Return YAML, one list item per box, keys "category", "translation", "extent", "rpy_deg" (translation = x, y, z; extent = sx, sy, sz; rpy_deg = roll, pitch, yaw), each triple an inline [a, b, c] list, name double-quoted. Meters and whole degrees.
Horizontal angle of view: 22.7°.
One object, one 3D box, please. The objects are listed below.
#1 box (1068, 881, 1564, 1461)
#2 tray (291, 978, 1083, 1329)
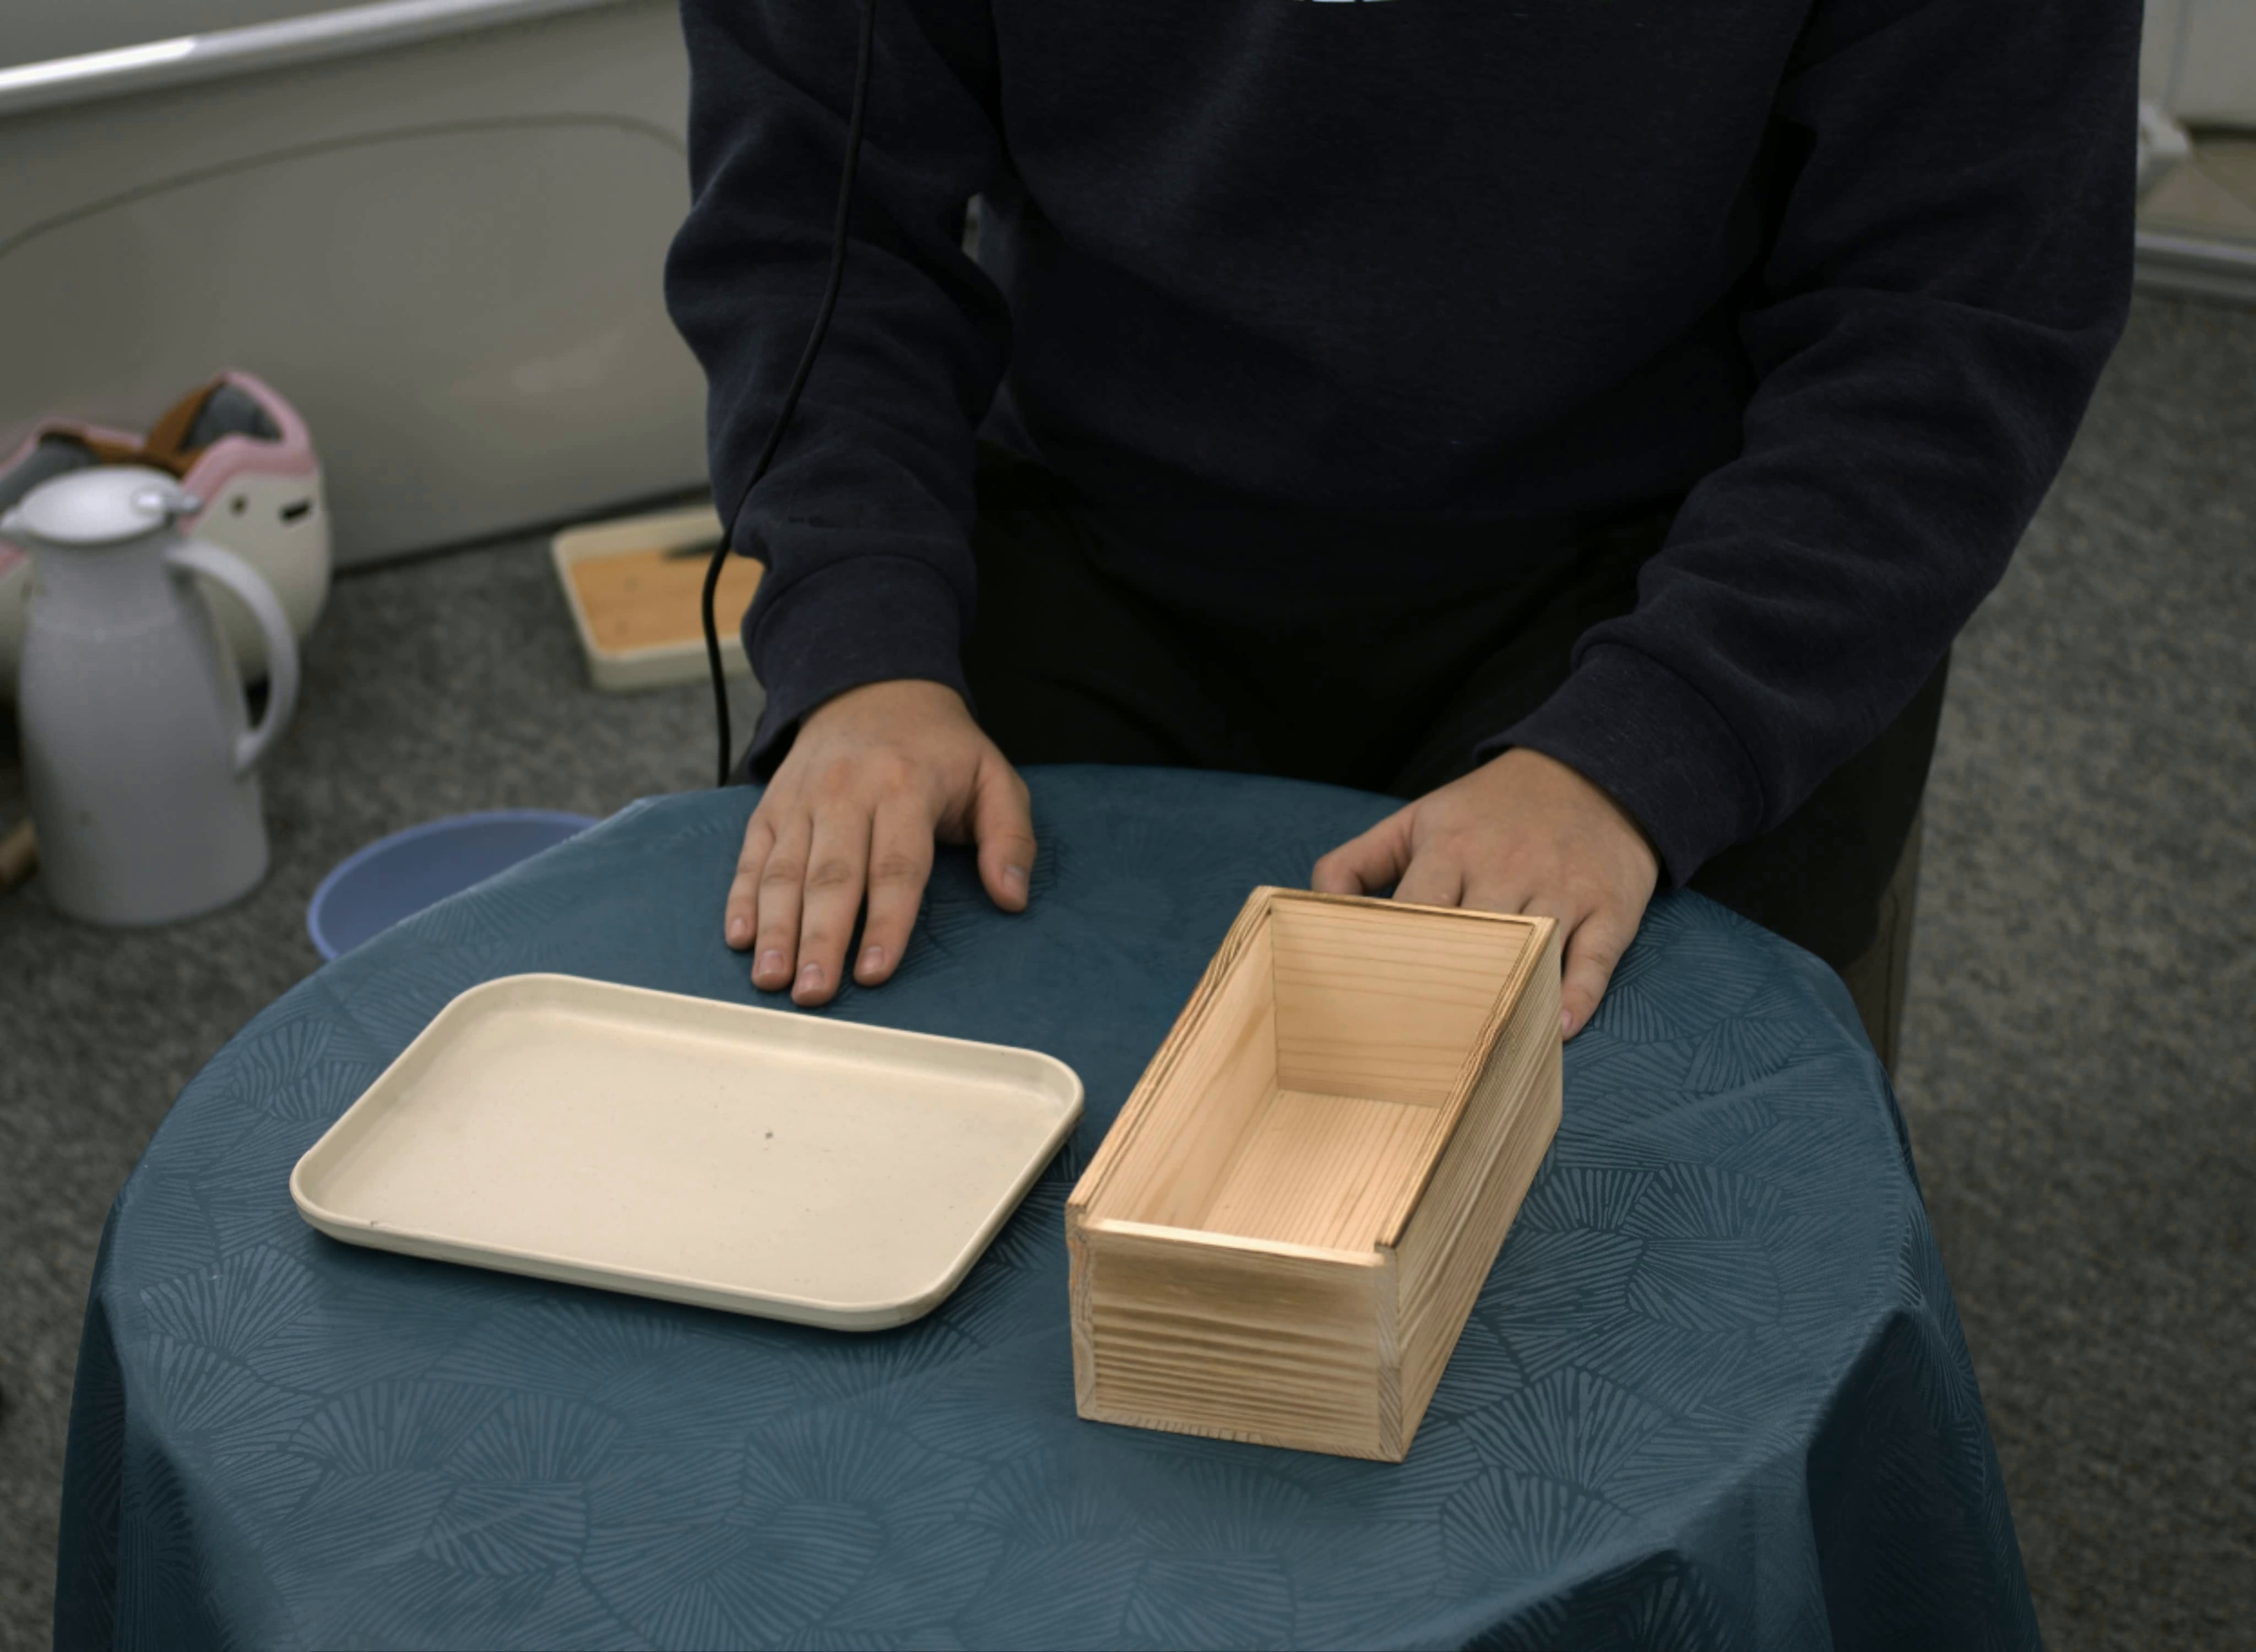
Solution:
- category: "box"
  translation: [0.064, 0.107, 1.802]
  extent: [0.107, 0.079, 0.215]
  rpy_deg: [6, 28, 16]
- category: "tray"
  translation: [-0.146, 0.110, 1.882]
  extent: [0.238, 0.017, 0.174]
  rpy_deg: [8, 29, 19]
